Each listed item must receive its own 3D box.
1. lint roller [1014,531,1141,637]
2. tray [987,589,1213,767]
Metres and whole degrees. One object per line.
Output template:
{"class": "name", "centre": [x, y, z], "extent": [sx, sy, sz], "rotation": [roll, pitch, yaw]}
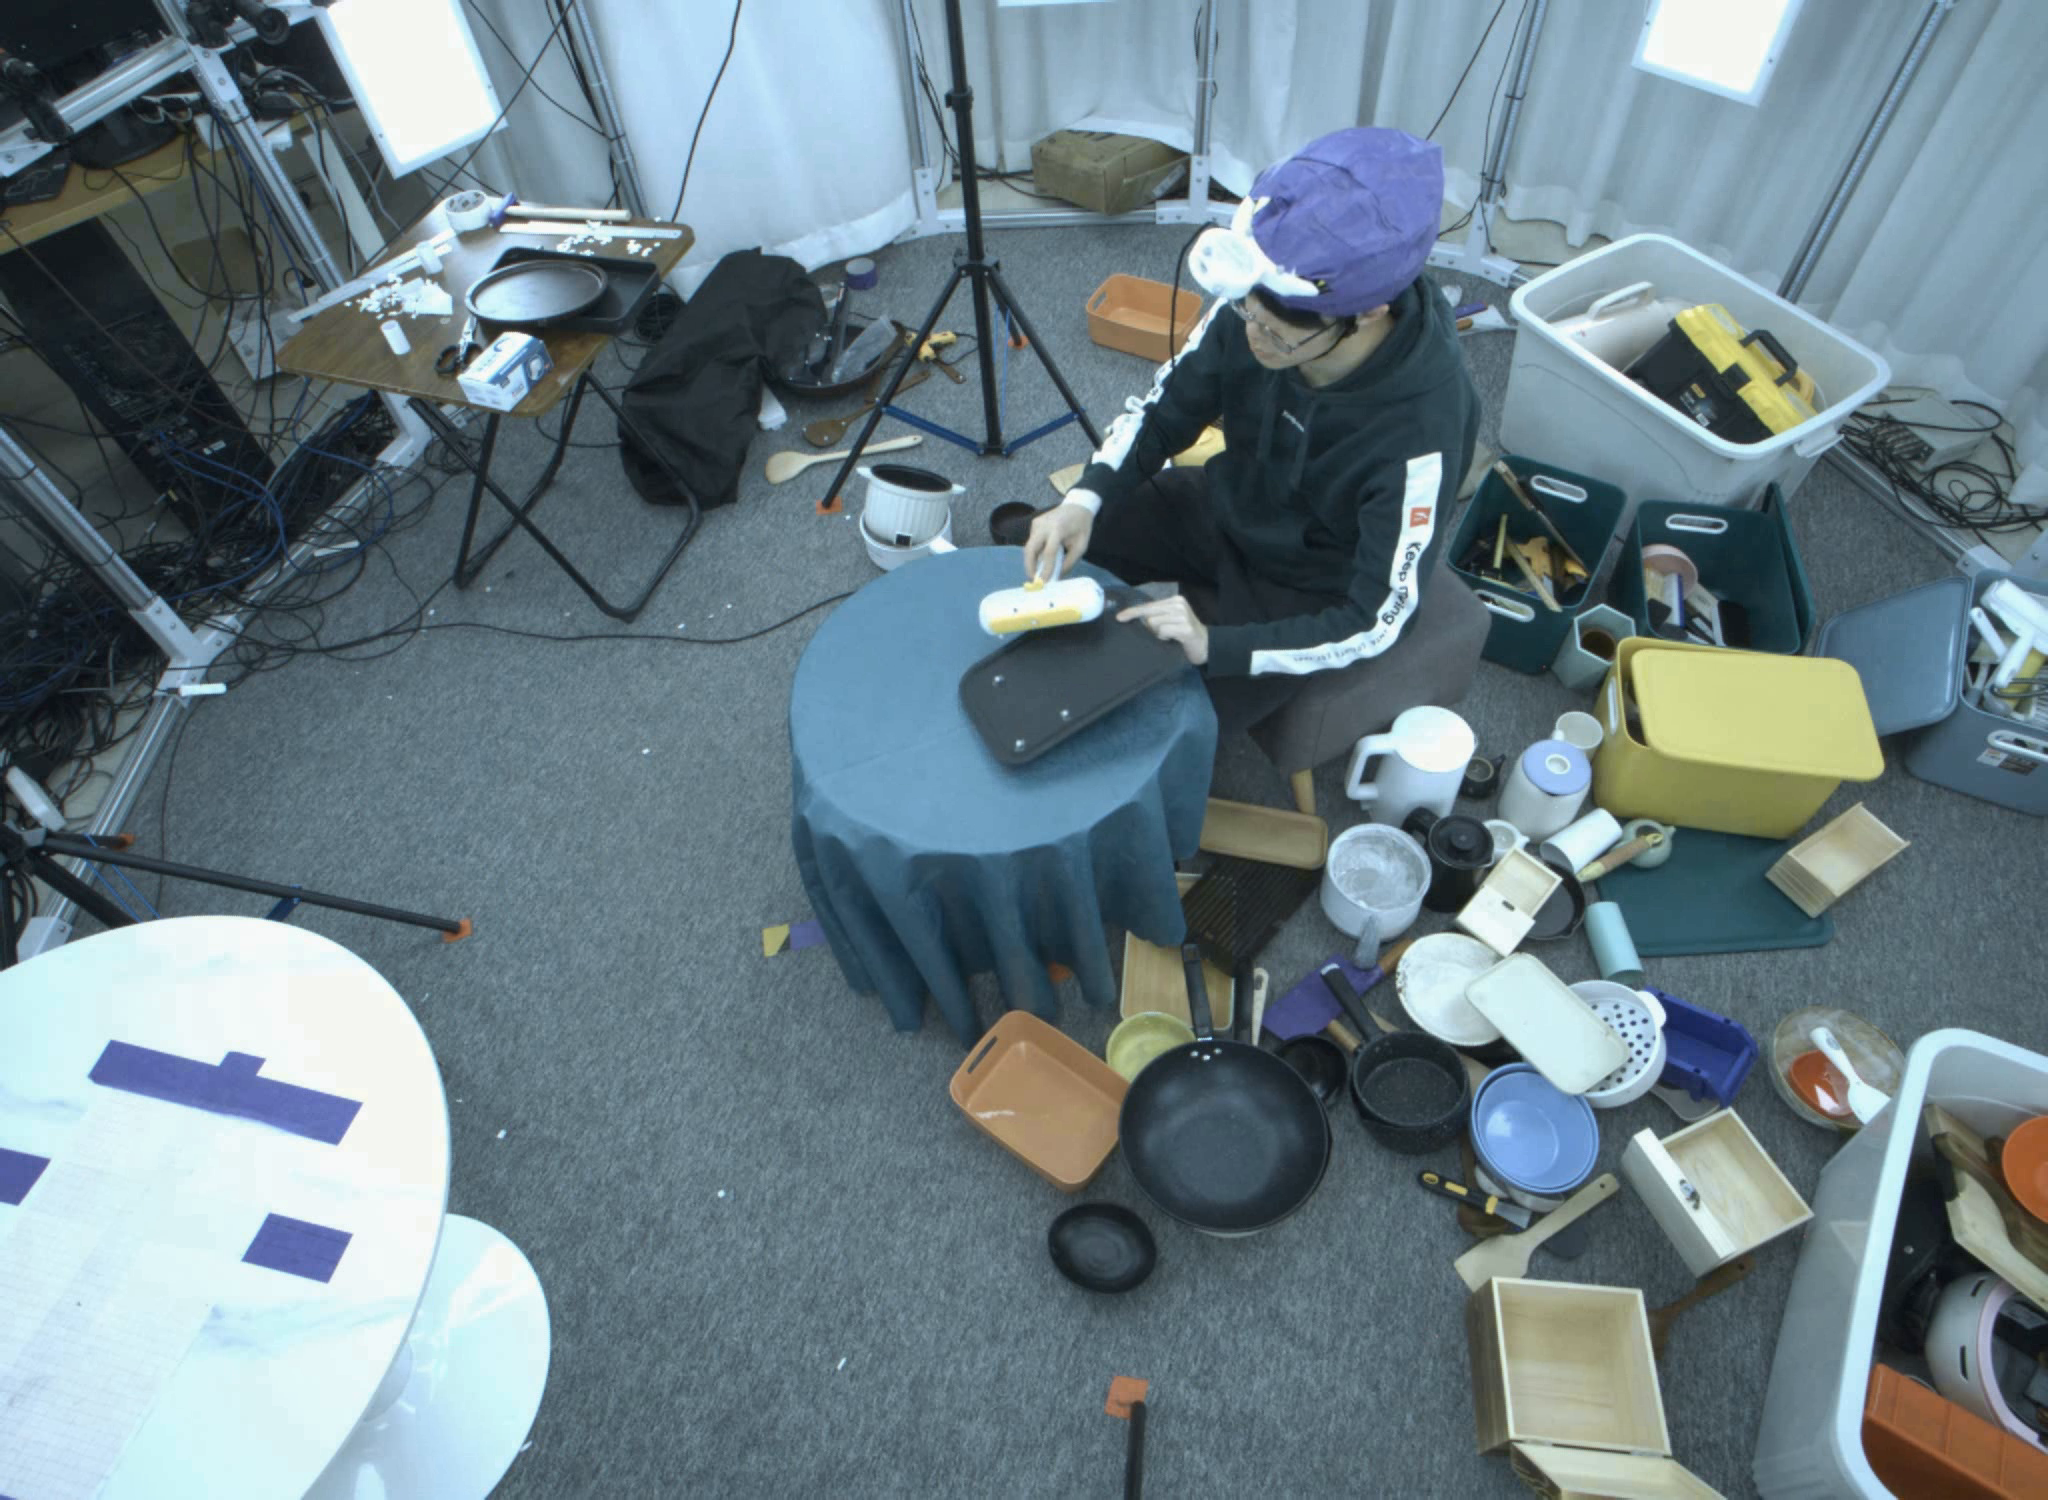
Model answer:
{"class": "lint roller", "centre": [0.084, -0.252, 1.836], "extent": [0.190, 0.075, 0.191], "rotation": [-11, 40, 24]}
{"class": "tray", "centre": [0.112, -0.114, 1.782], "extent": [0.325, 0.010, 0.207], "rotation": [-30, 54, -1]}
